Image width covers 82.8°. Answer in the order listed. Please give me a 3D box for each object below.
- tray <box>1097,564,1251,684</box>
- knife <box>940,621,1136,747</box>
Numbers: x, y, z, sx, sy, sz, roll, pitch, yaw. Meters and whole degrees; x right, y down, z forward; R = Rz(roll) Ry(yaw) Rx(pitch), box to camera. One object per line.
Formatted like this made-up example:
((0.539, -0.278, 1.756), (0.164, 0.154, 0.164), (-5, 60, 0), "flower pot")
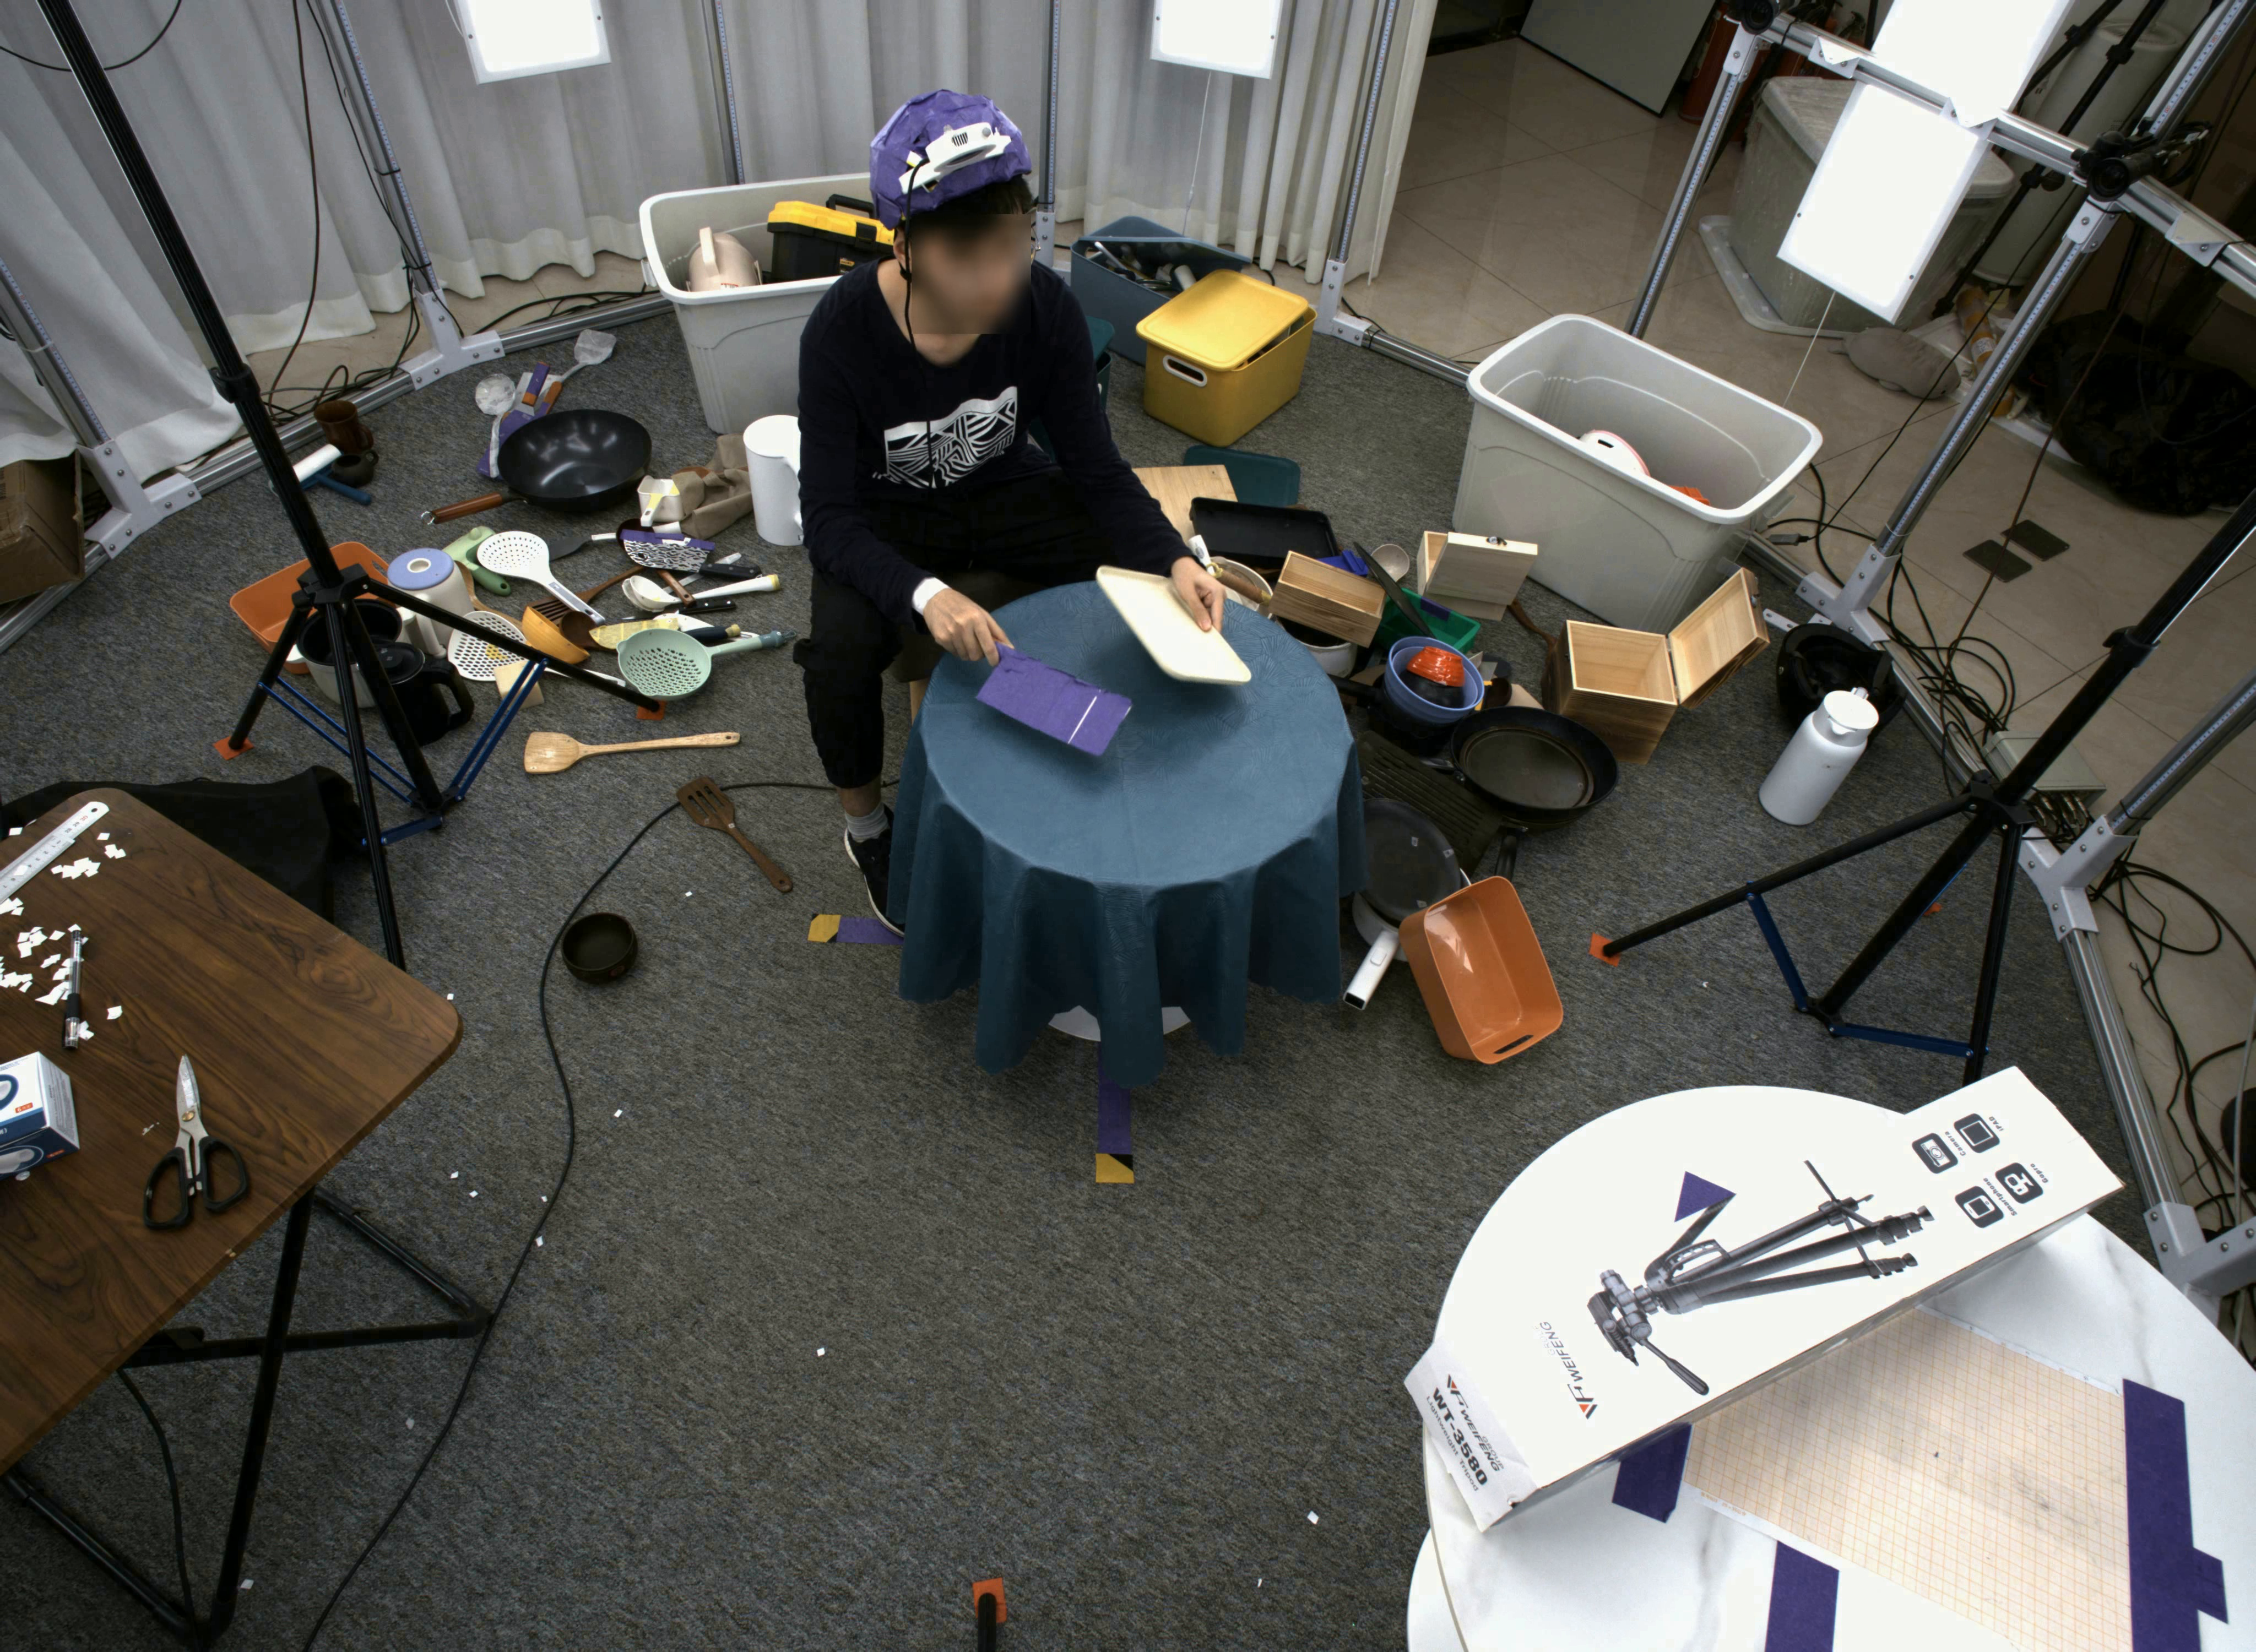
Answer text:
((0.063, -0.284, 1.814), (0.170, 0.017, 0.245), (2, 43, -42), "tray")
((-0.143, -0.195, 1.751), (0.318, 0.031, 0.105), (24, 71, 25), "knife")
